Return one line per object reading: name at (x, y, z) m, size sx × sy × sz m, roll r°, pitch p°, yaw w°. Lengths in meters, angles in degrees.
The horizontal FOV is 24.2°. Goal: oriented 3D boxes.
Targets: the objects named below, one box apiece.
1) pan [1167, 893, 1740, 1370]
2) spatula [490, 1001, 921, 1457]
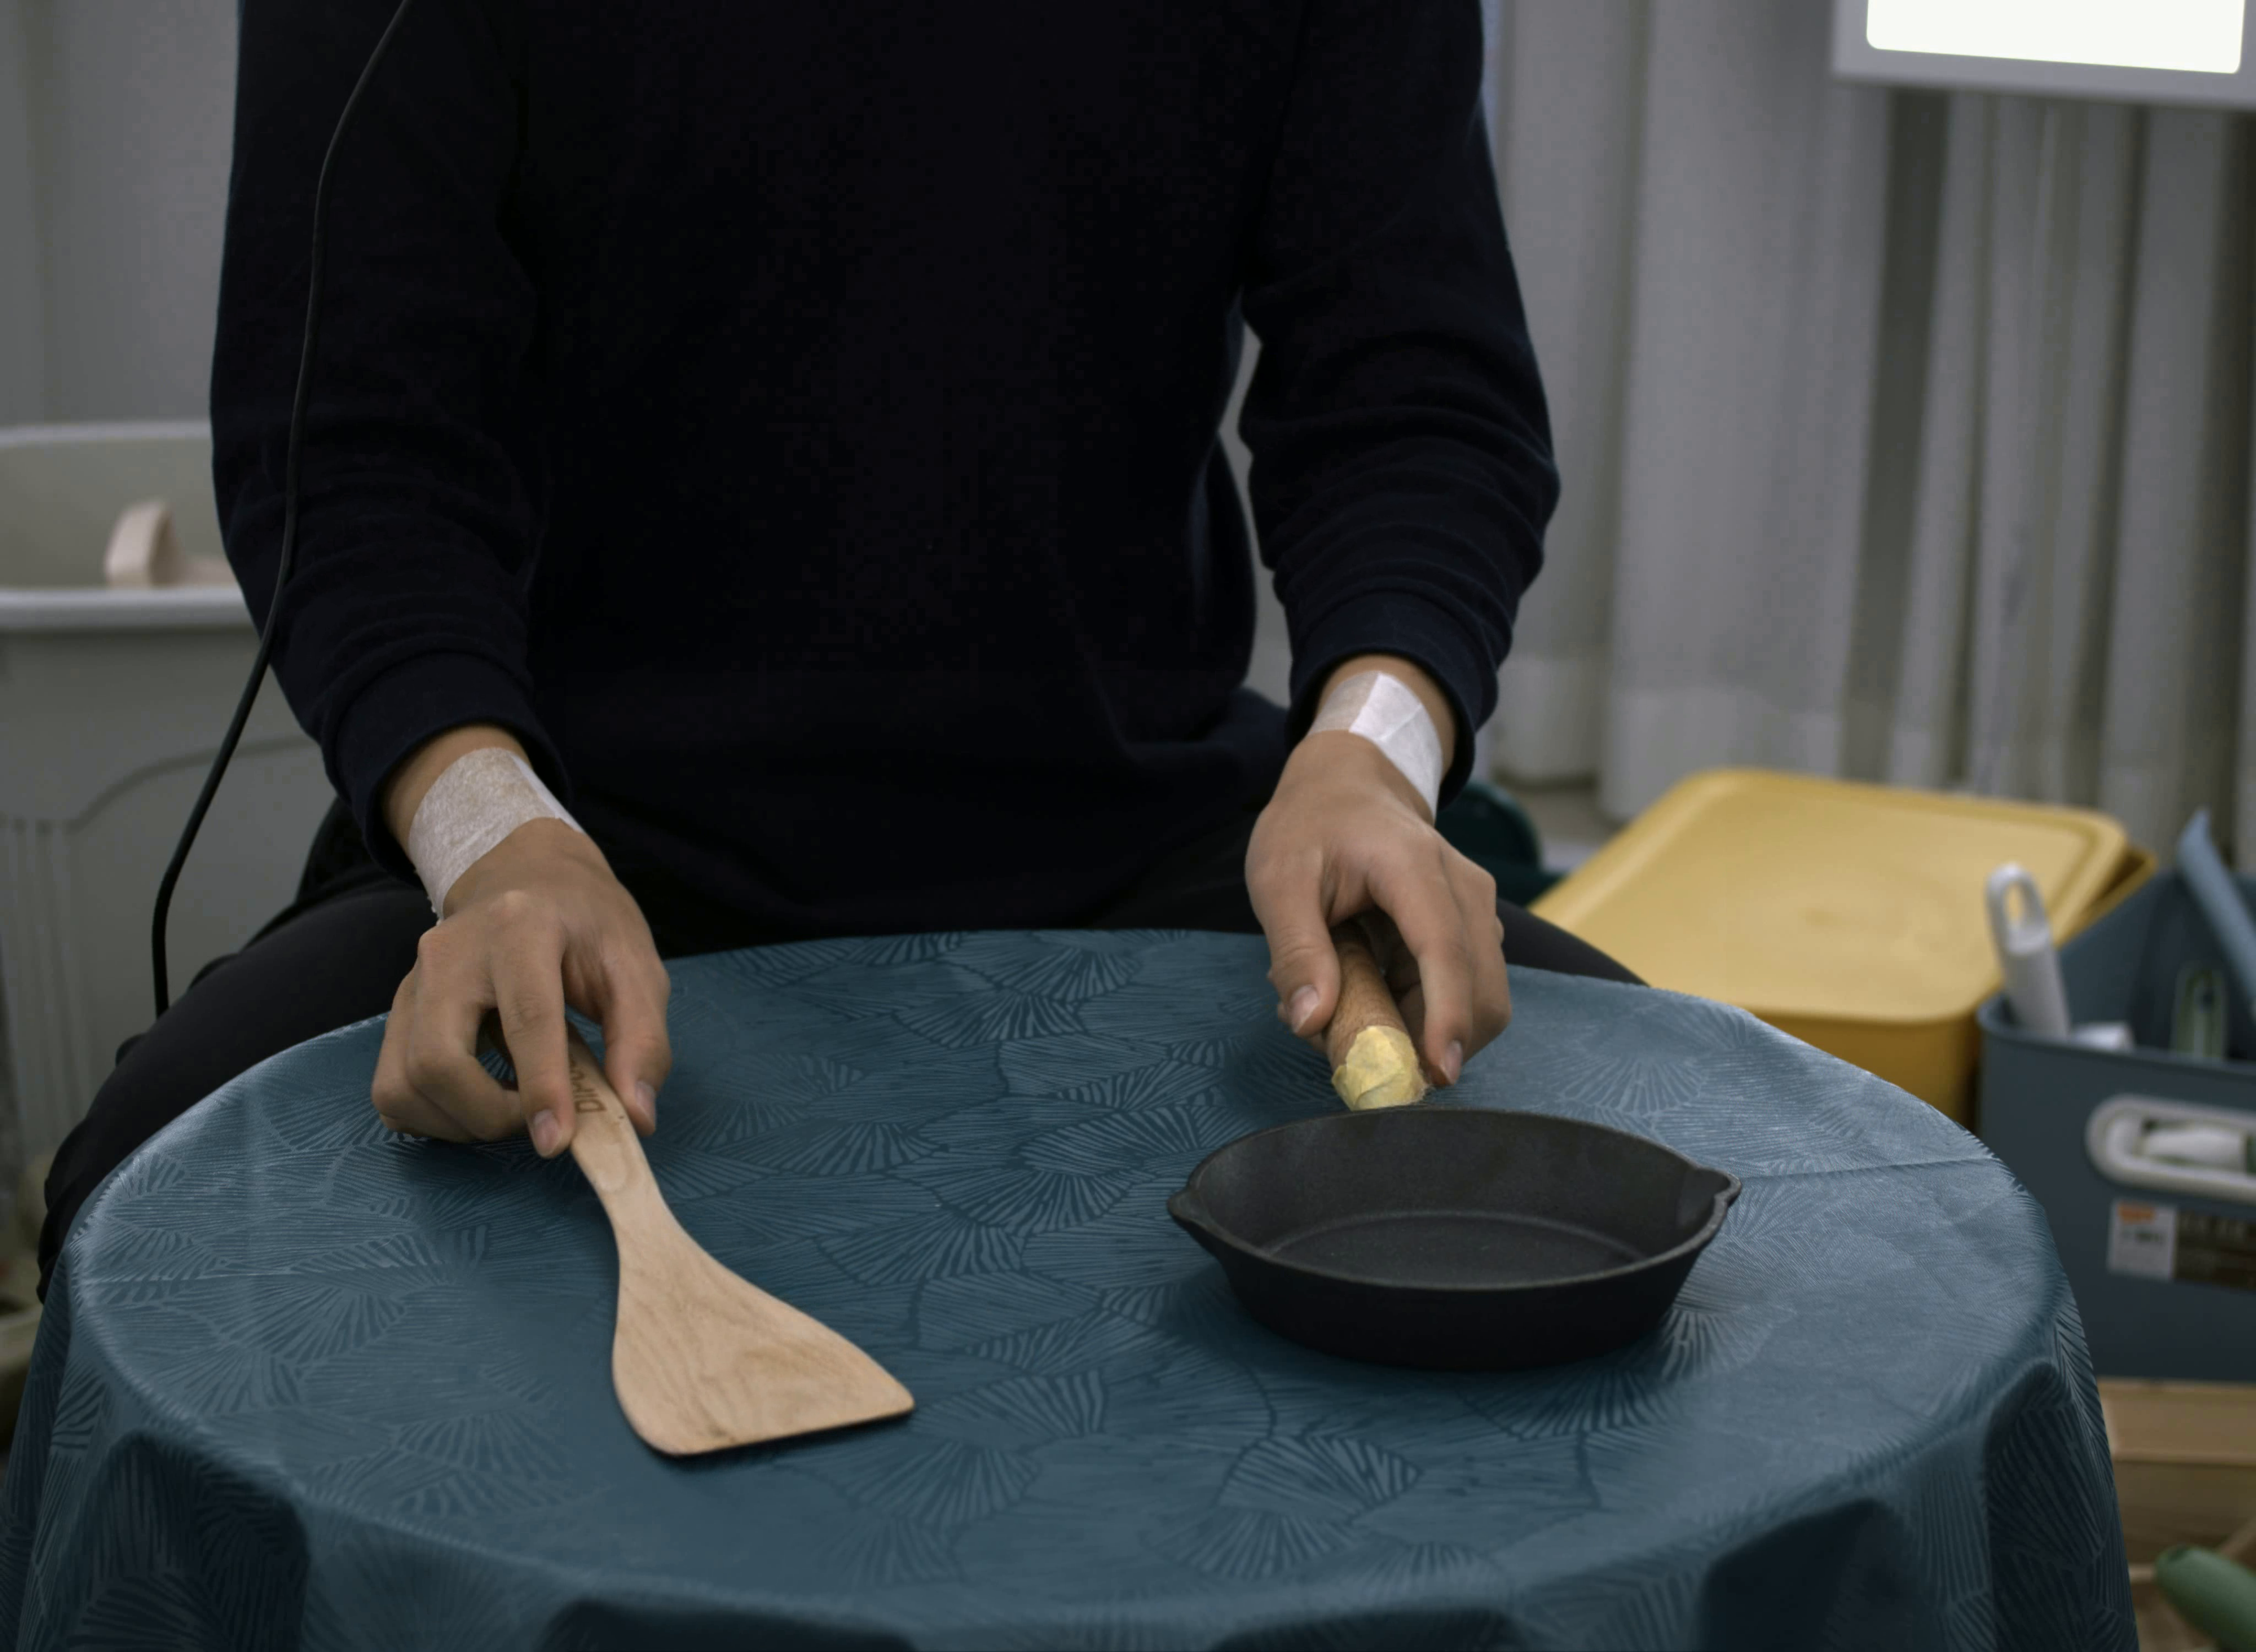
pan at (0.086, 0.090, 1.611) m, size 0.169 × 0.050 × 0.321 m, roll -1°, pitch 17°, yaw -6°
spatula at (-0.141, 0.113, 1.556) m, size 0.080 × 0.016 × 0.323 m, roll -4°, pitch 23°, yaw -19°
